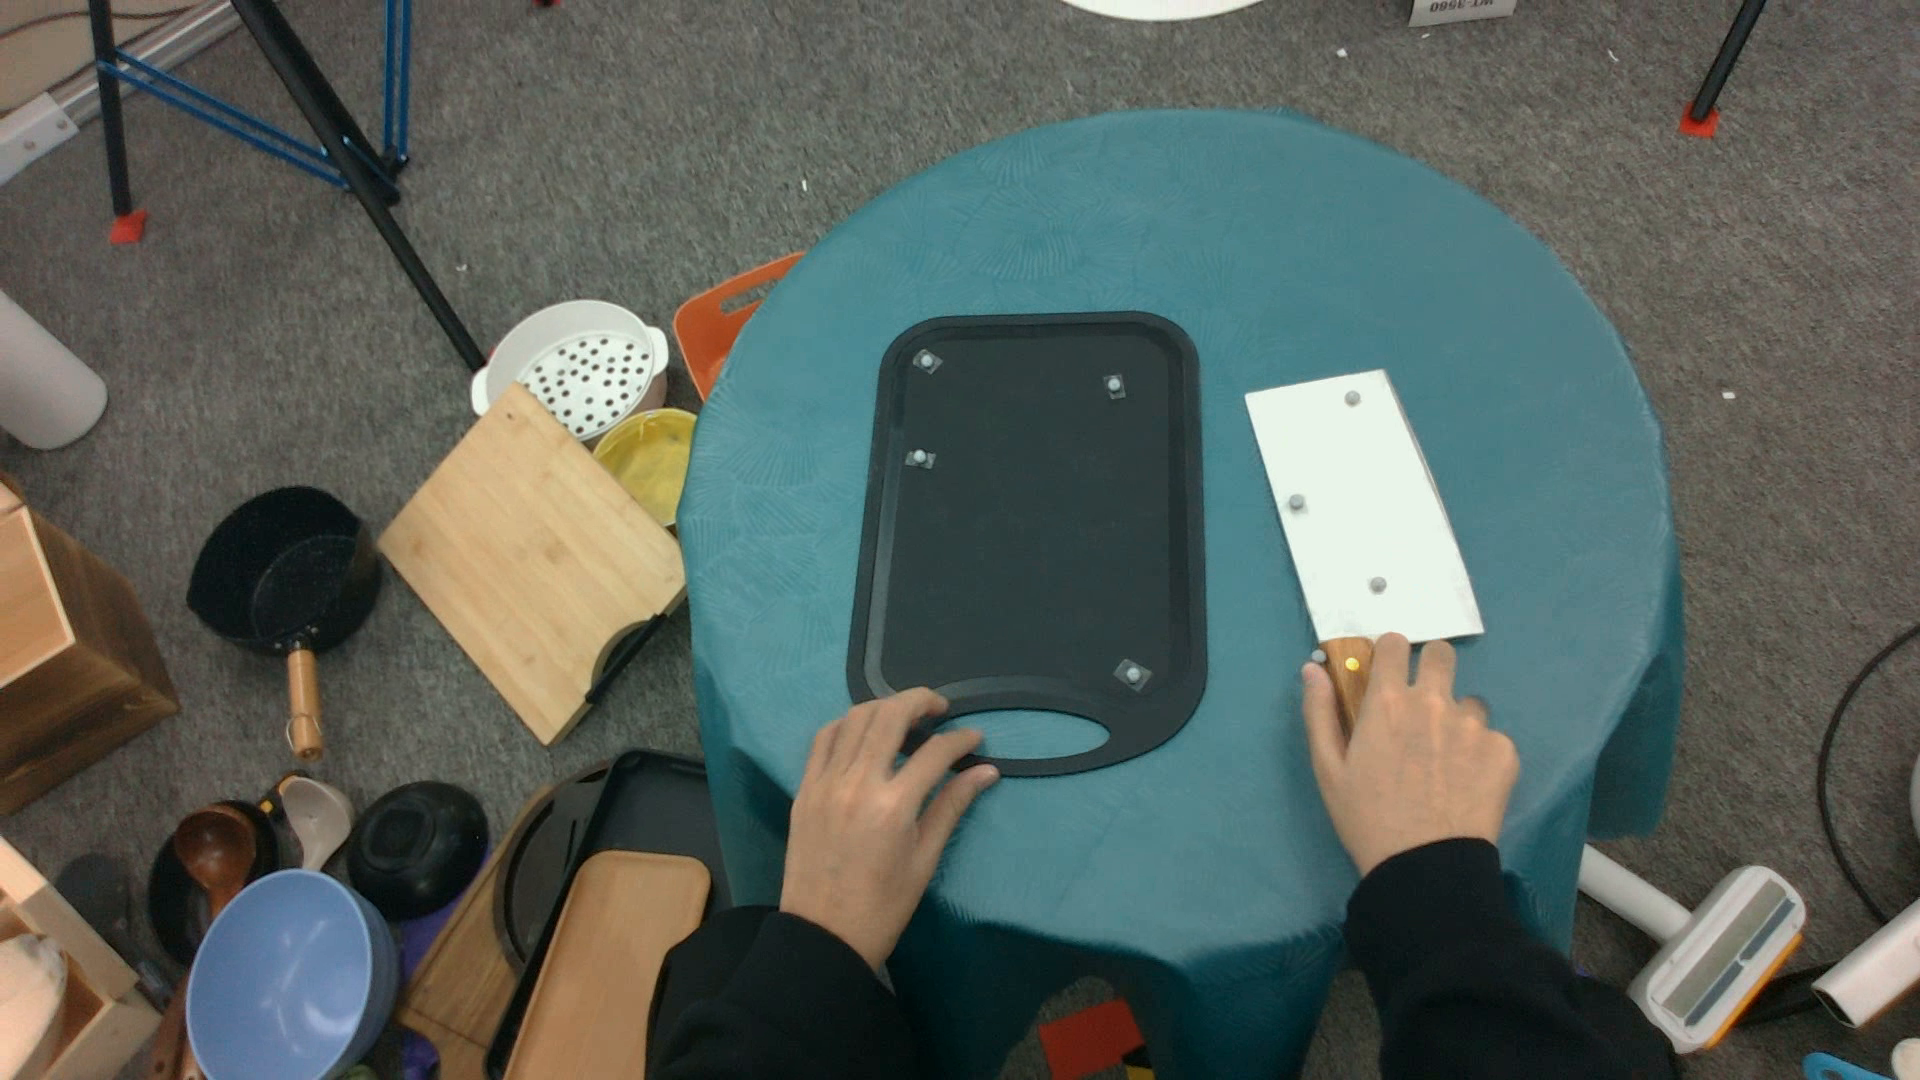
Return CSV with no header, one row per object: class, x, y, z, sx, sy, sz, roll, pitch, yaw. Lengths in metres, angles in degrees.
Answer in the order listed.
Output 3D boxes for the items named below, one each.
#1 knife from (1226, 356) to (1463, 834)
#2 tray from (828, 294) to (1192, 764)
knife,0.231,0.016,0.787,0.093,0.021,0.307,-10,58,1
tray,0.033,-0.020,0.836,0.211,0.010,0.327,0,61,7
